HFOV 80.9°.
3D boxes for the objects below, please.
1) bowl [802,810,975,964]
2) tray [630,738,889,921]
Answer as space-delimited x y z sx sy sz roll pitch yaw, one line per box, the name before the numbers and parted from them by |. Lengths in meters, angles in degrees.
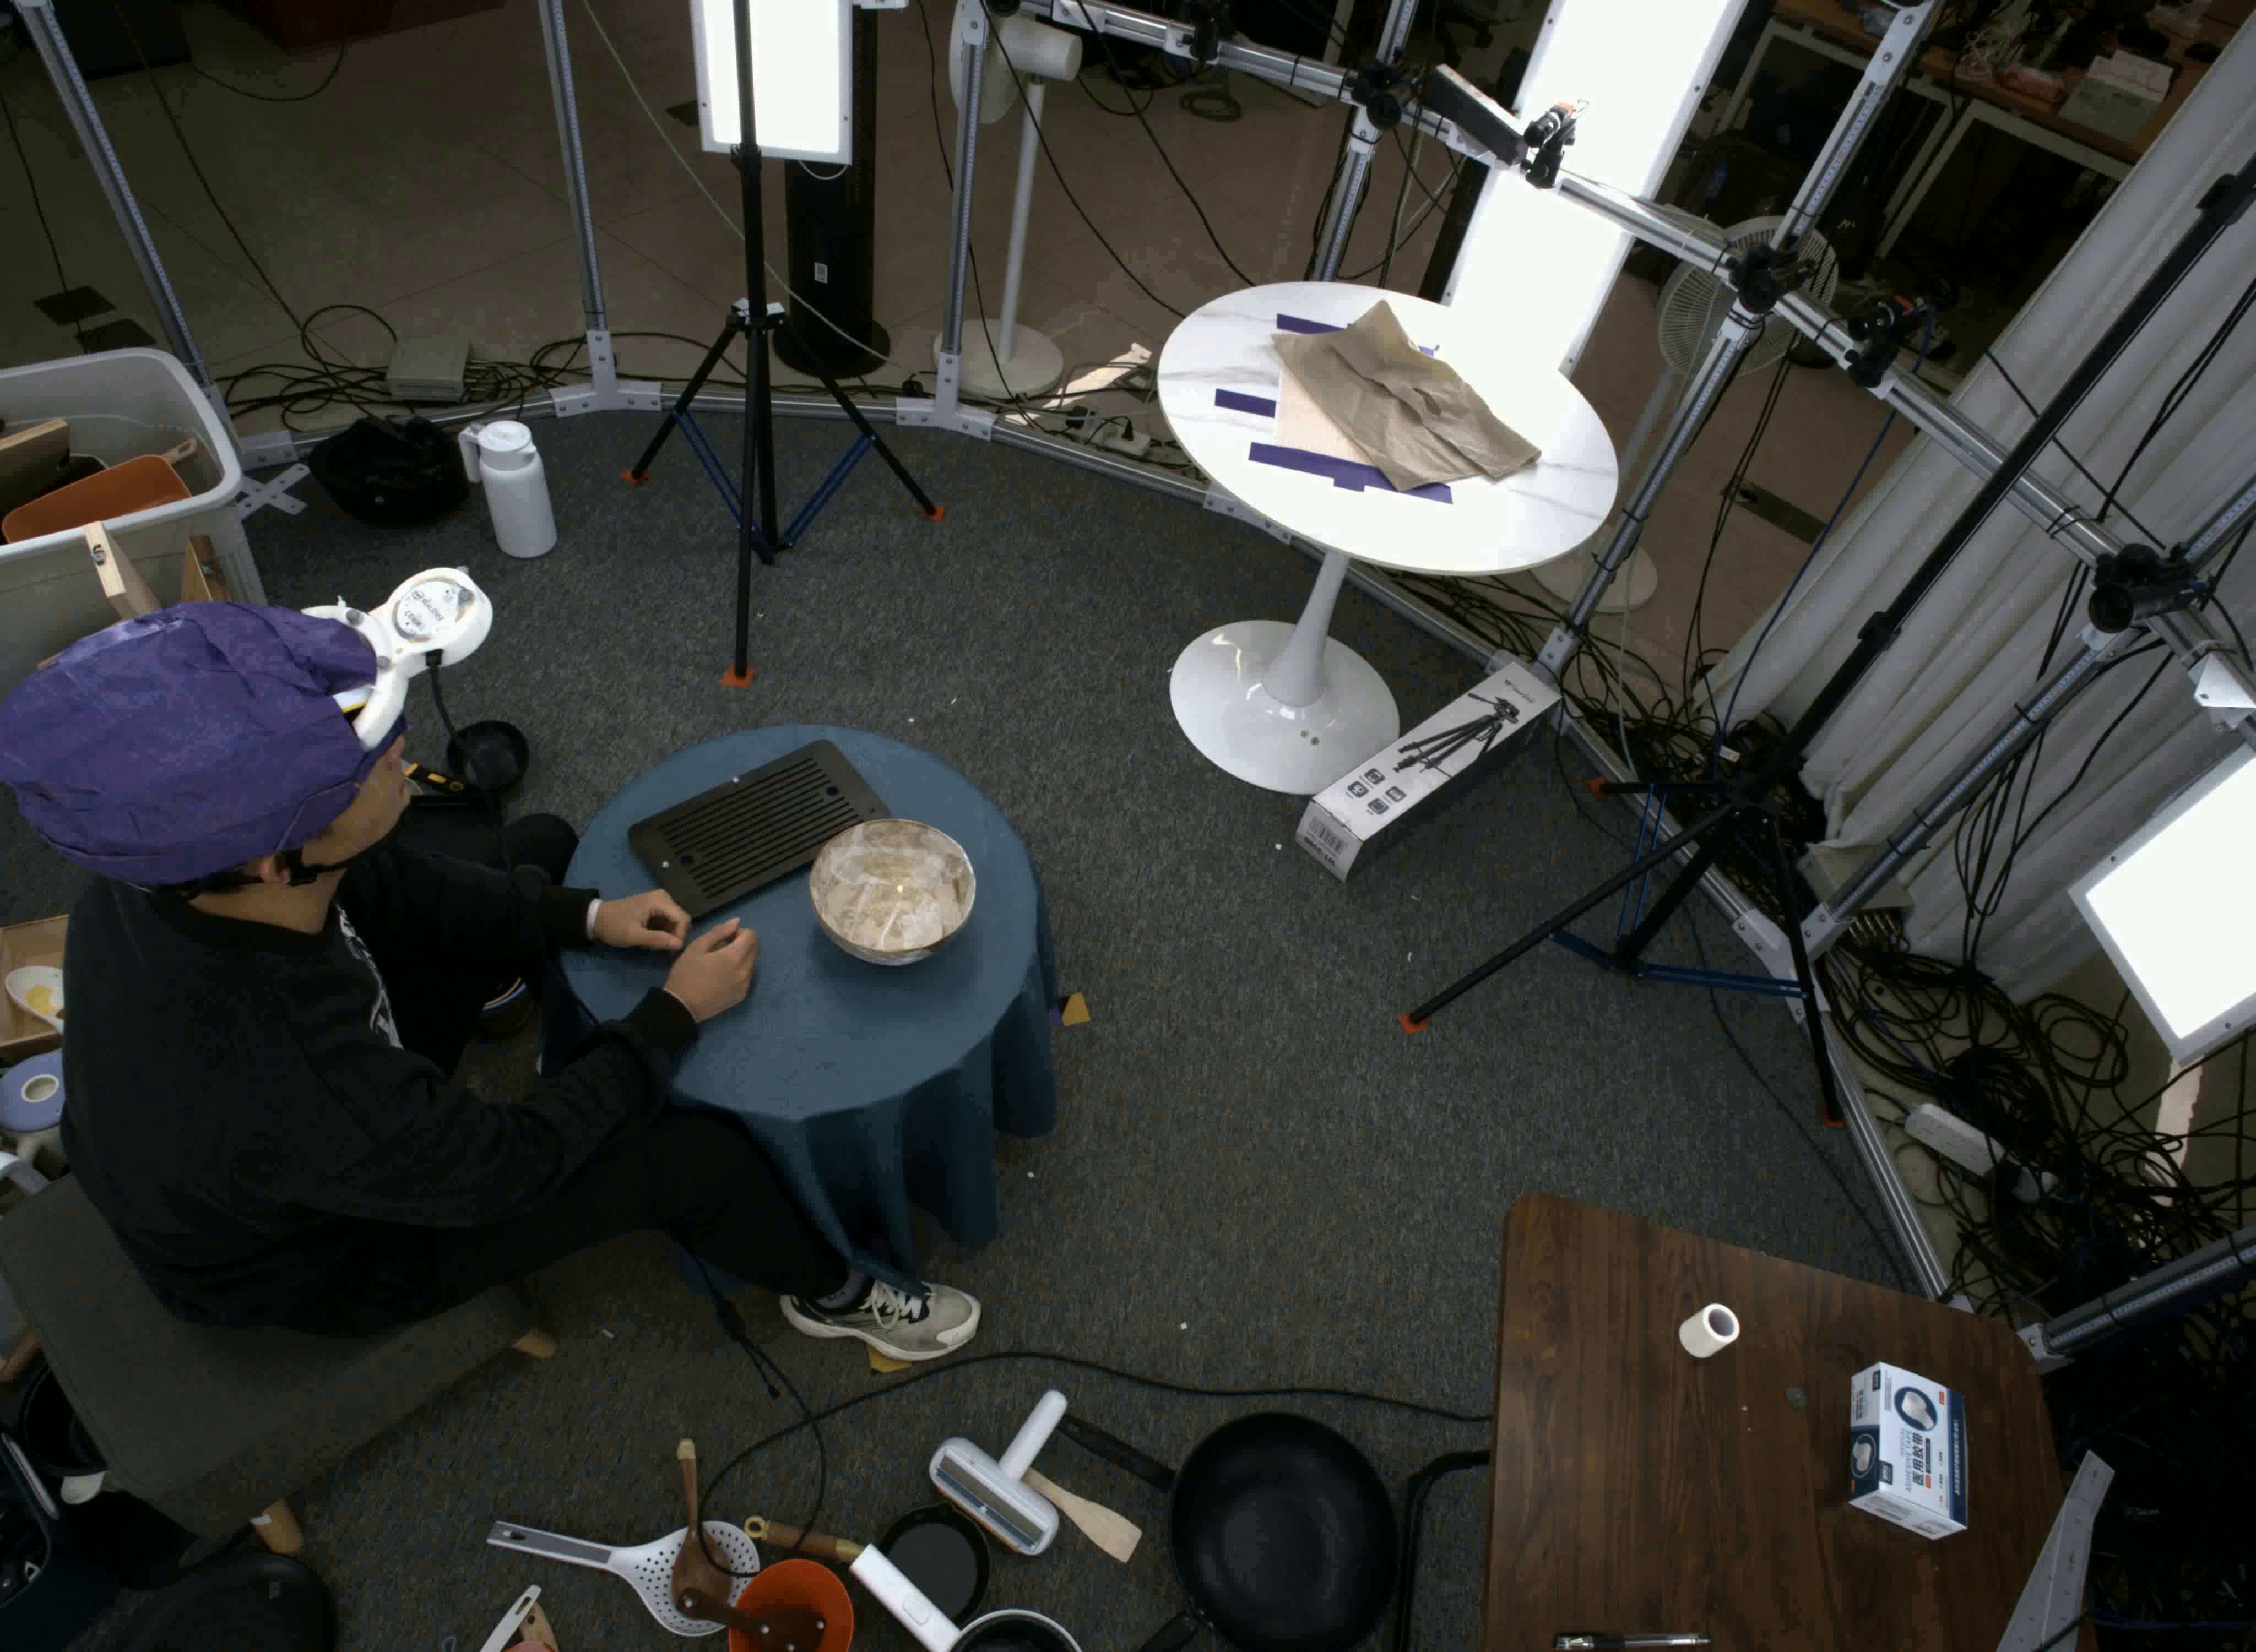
bowl | -0.300 0.092 1.632 0.214 0.096 0.211 8 53 -9
tray | -0.483 -0.001 1.704 0.307 0.019 0.166 -30 66 -30
